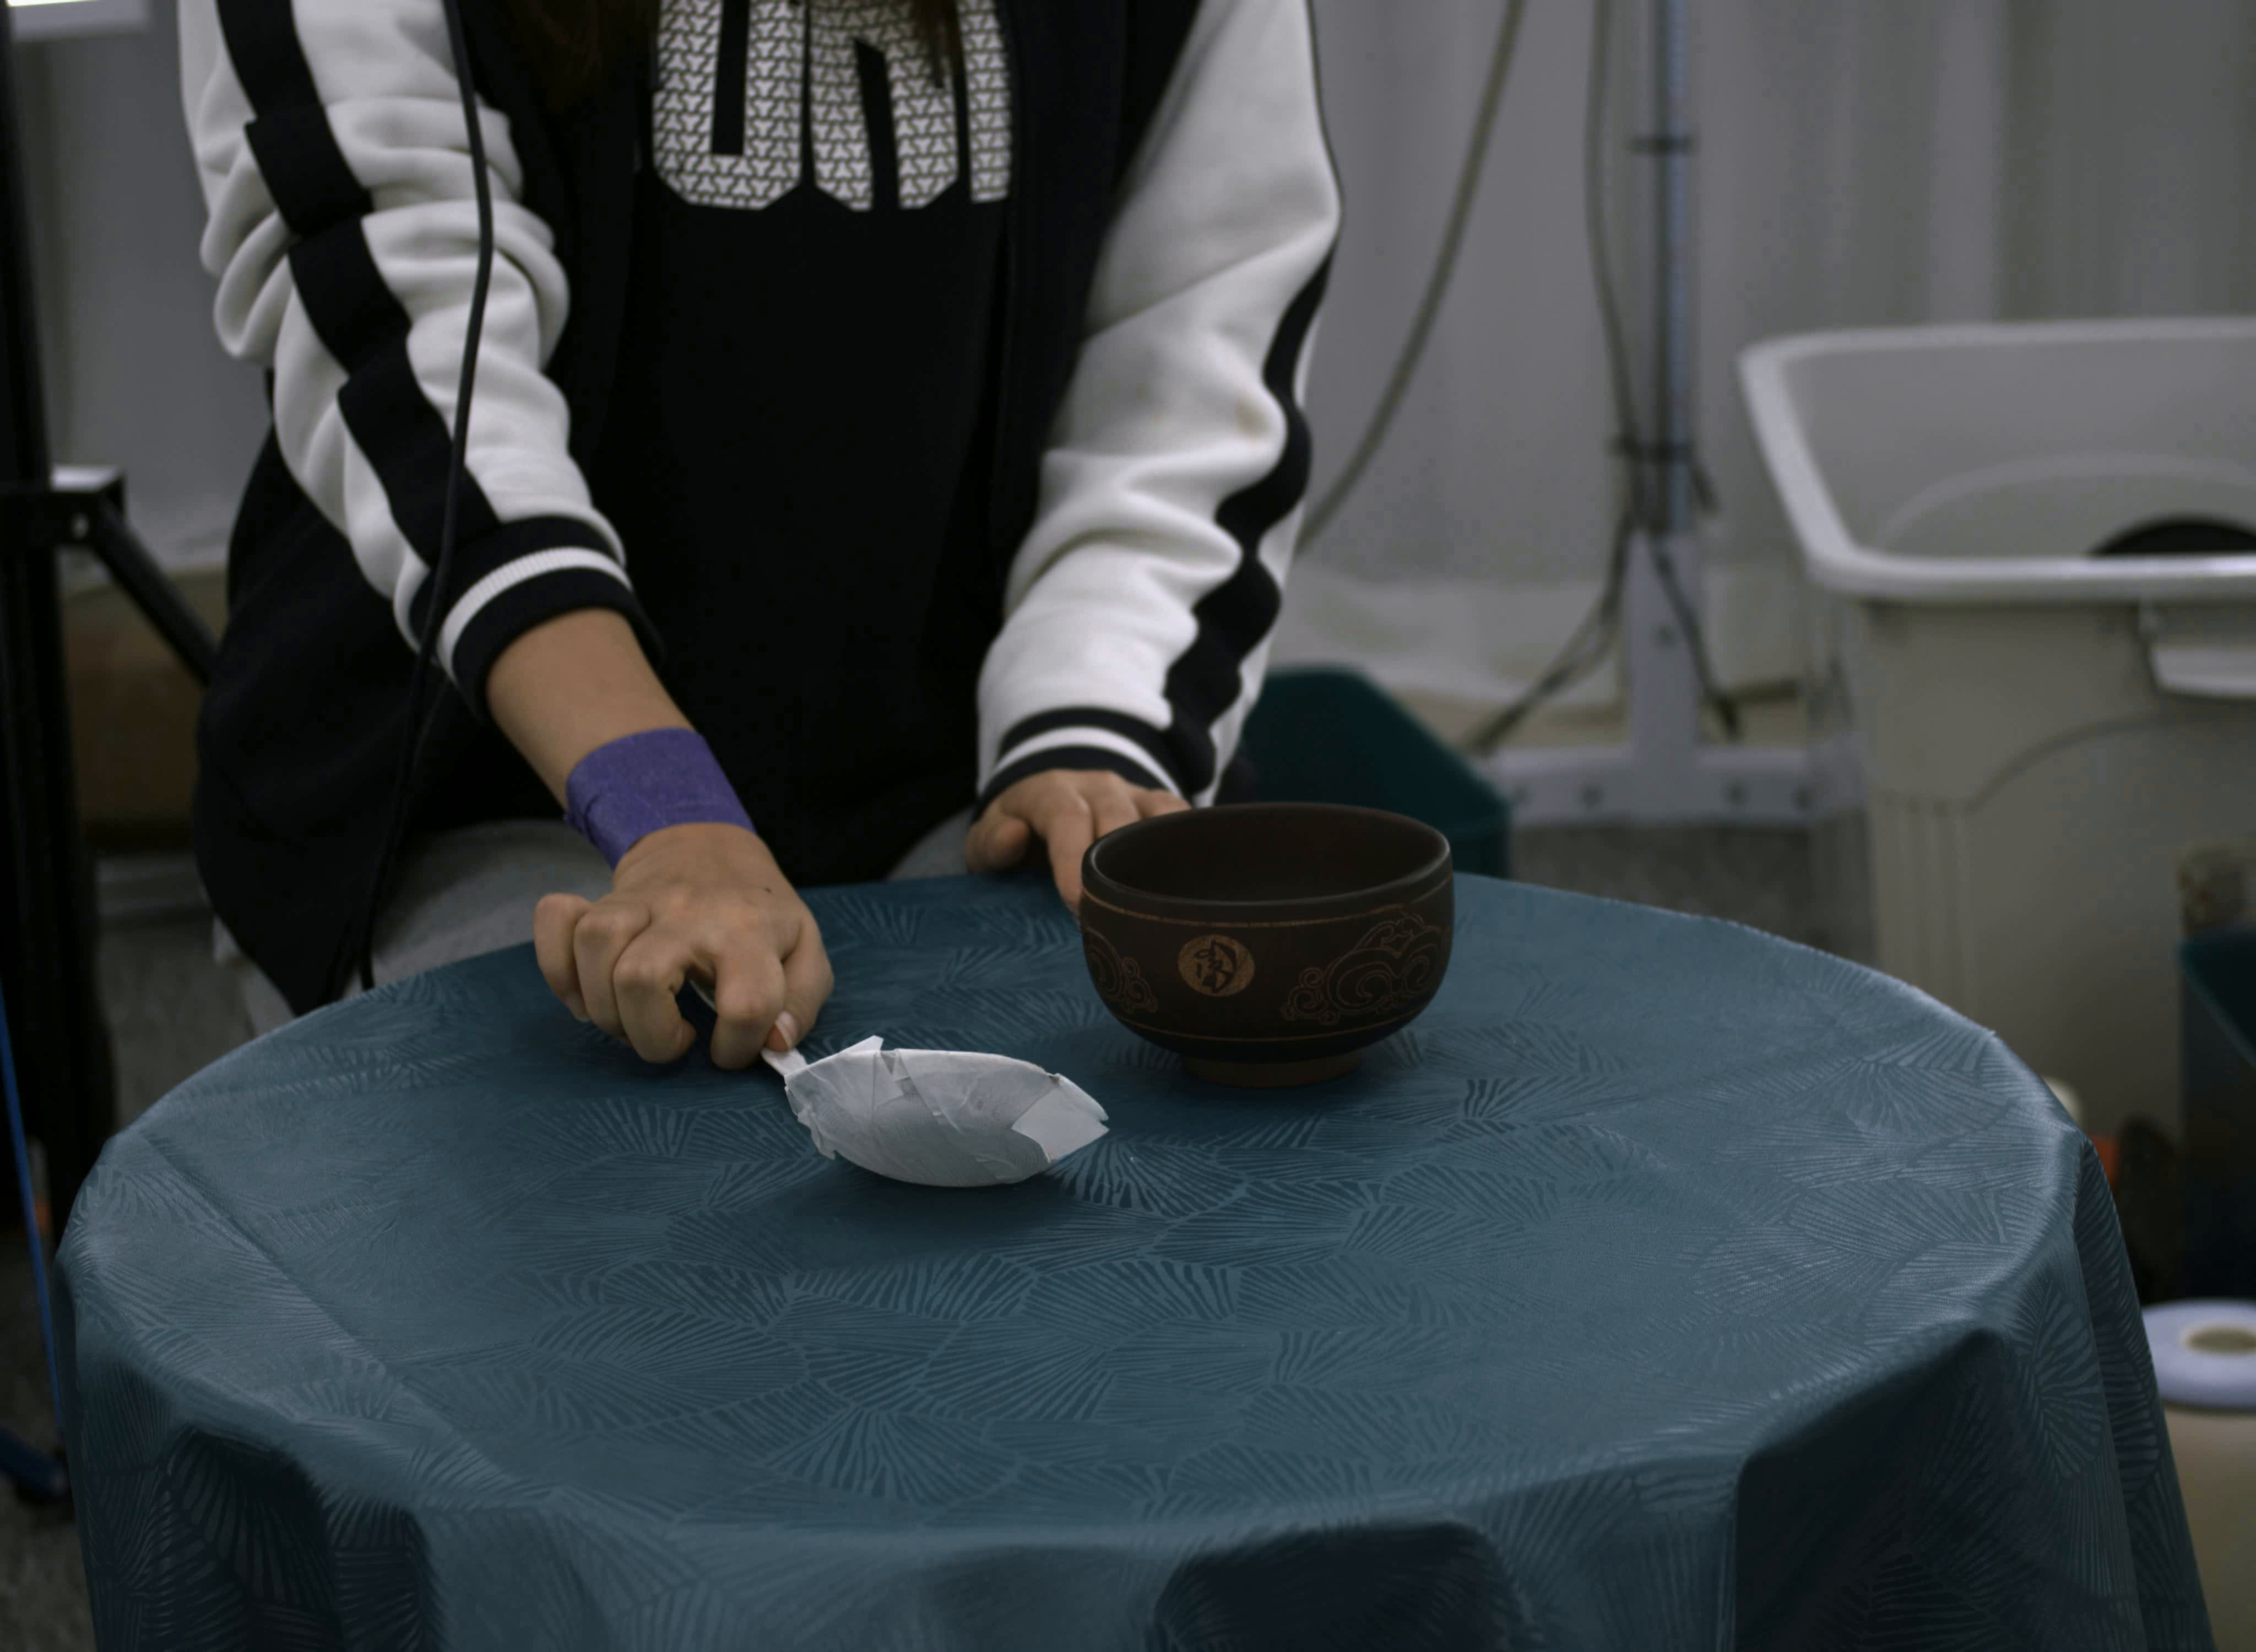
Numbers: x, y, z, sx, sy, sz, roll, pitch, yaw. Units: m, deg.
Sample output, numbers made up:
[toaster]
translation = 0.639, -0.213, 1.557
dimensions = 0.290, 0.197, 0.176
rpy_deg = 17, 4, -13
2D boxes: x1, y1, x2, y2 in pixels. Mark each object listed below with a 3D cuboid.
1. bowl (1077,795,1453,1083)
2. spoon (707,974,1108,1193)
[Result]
[bowl]
translation = 0.043, 0.039, 1.660
dimensions = 0.117, 0.070, 0.118
rpy_deg = -2, 16, -1
[spoon]
translation = -0.079, 0.061, 1.642
dimensions = 0.099, 0.059, 0.281
rpy_deg = 20, 6, -20
